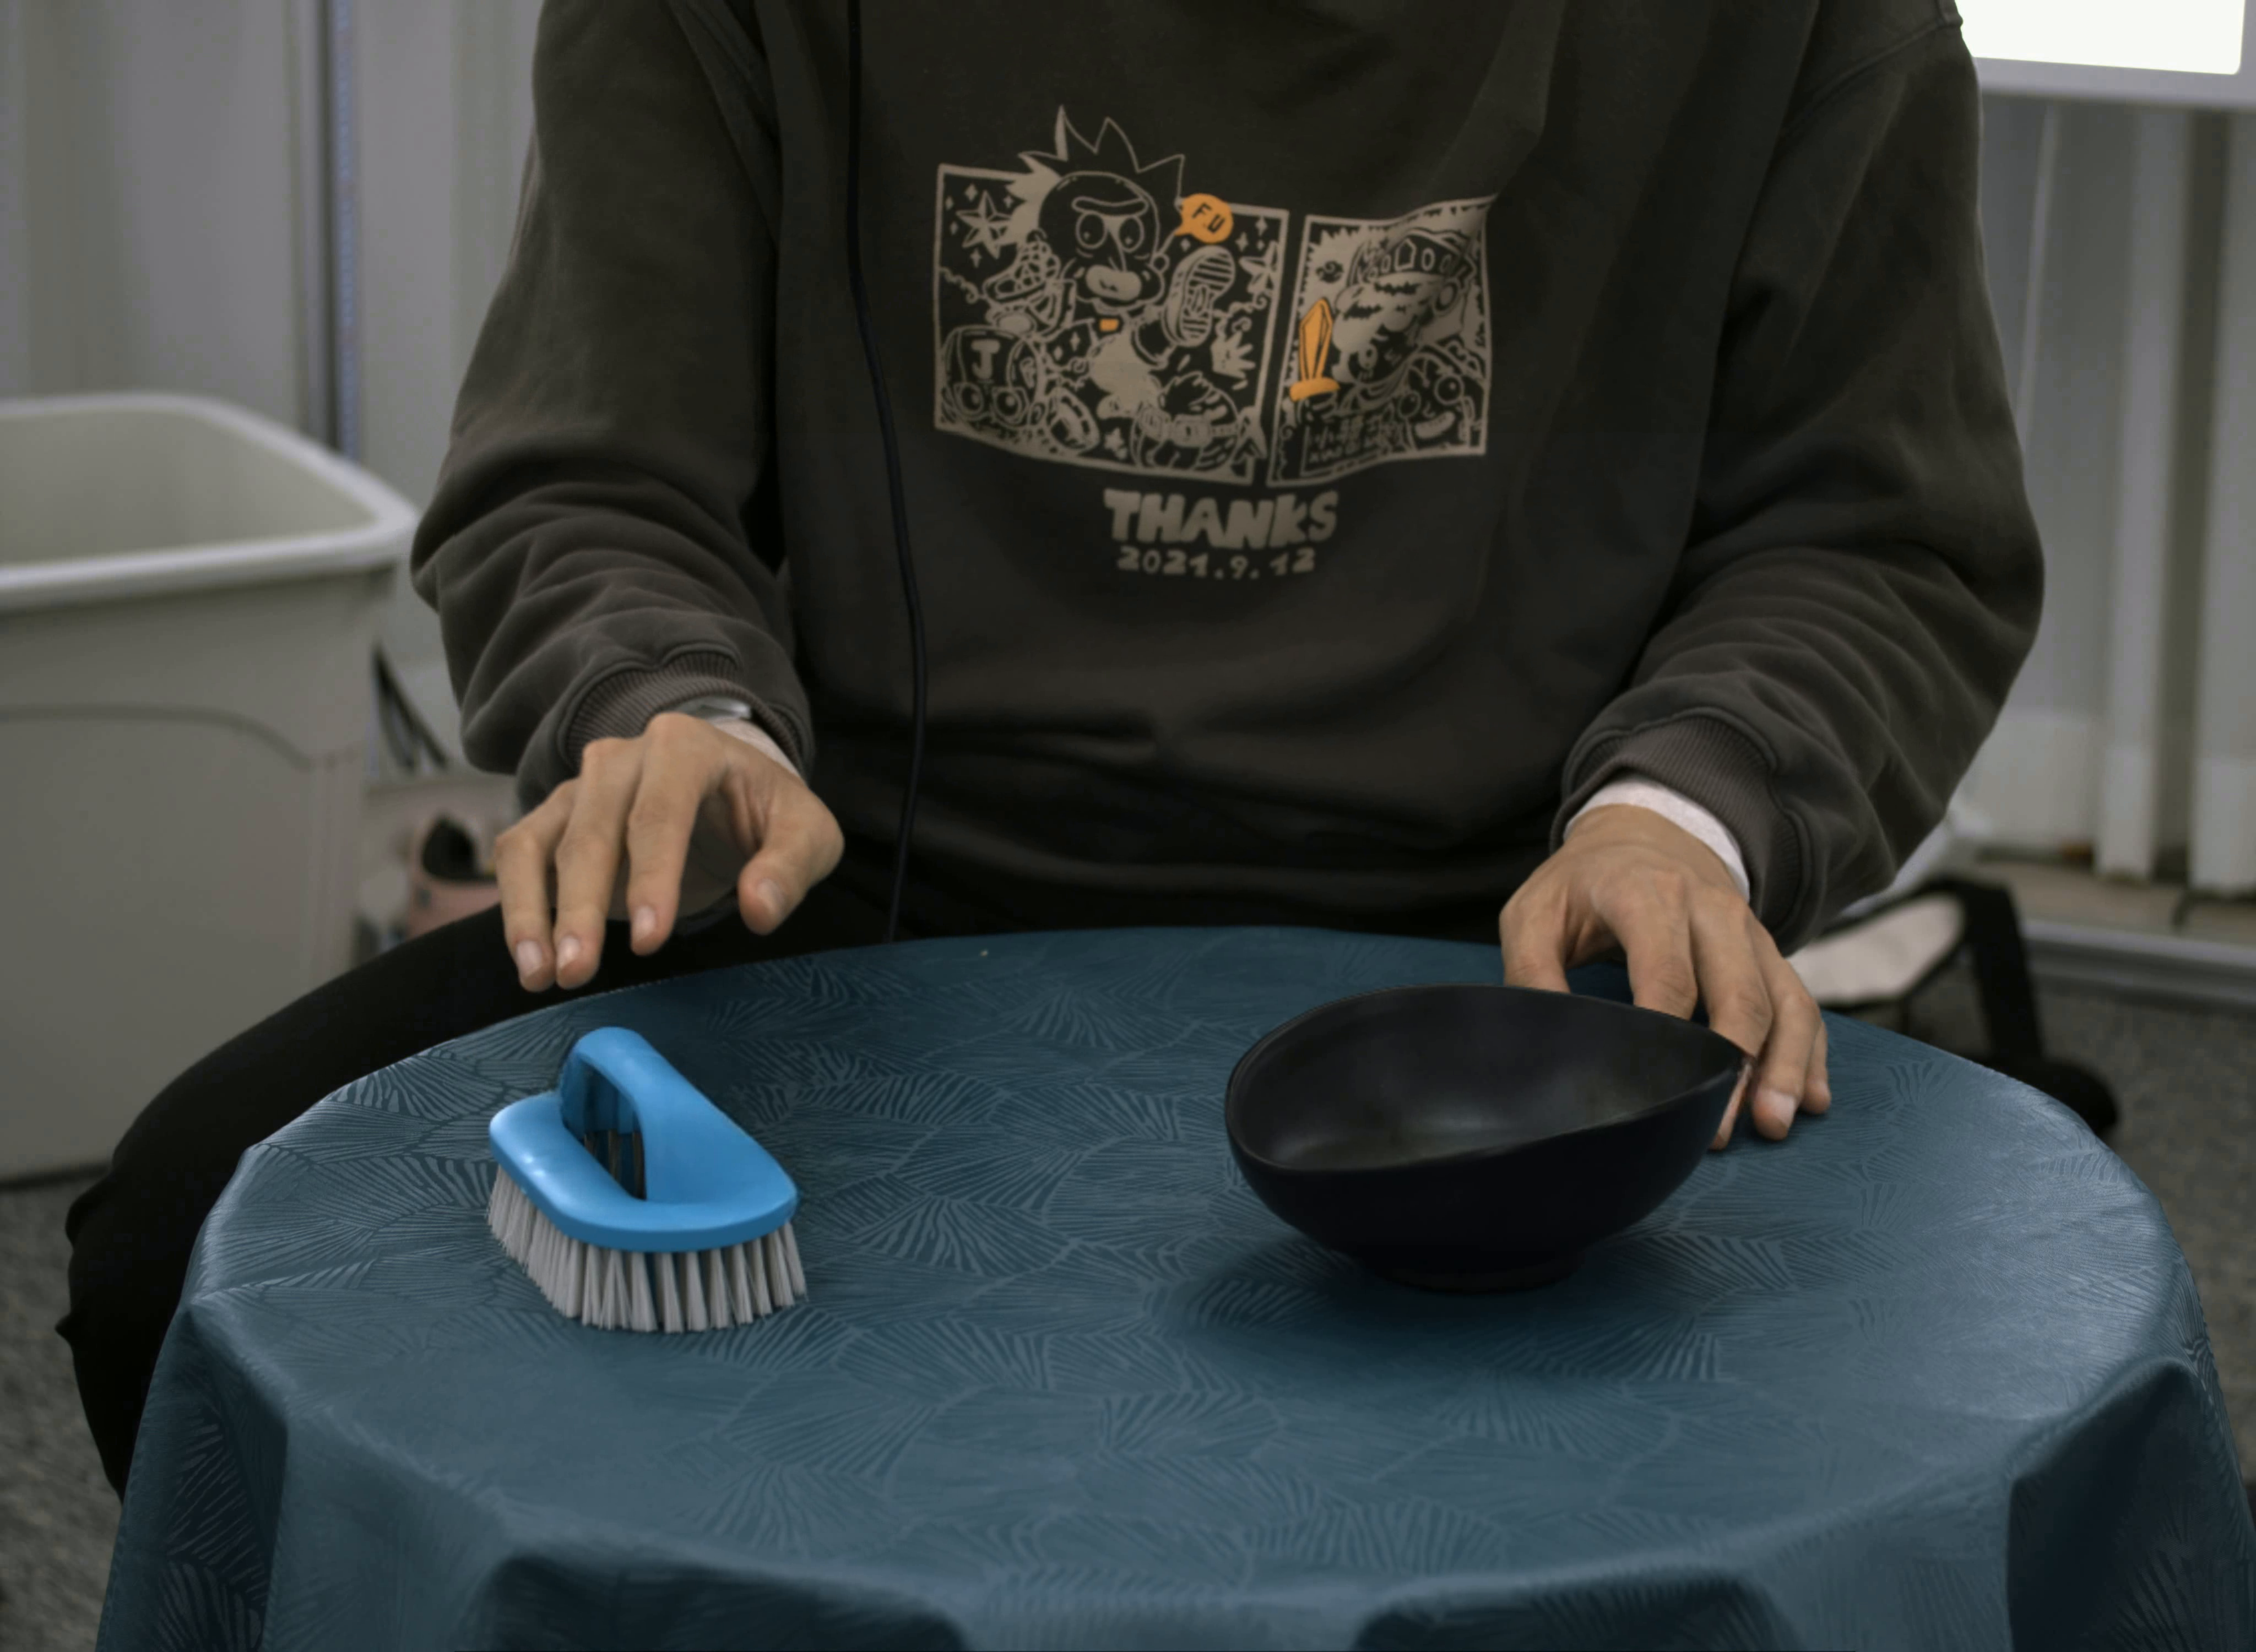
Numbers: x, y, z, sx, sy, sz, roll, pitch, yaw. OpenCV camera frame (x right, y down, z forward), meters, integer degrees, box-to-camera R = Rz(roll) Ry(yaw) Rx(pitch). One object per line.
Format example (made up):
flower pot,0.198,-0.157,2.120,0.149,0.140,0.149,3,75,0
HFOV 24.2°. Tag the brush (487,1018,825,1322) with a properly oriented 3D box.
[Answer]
brush,-0.143,0.095,1.564,0.084,0.064,0.140,-10,17,-18

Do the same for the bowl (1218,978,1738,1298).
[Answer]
bowl,0.105,0.098,1.567,0.171,0.067,0.135,-16,22,-42
